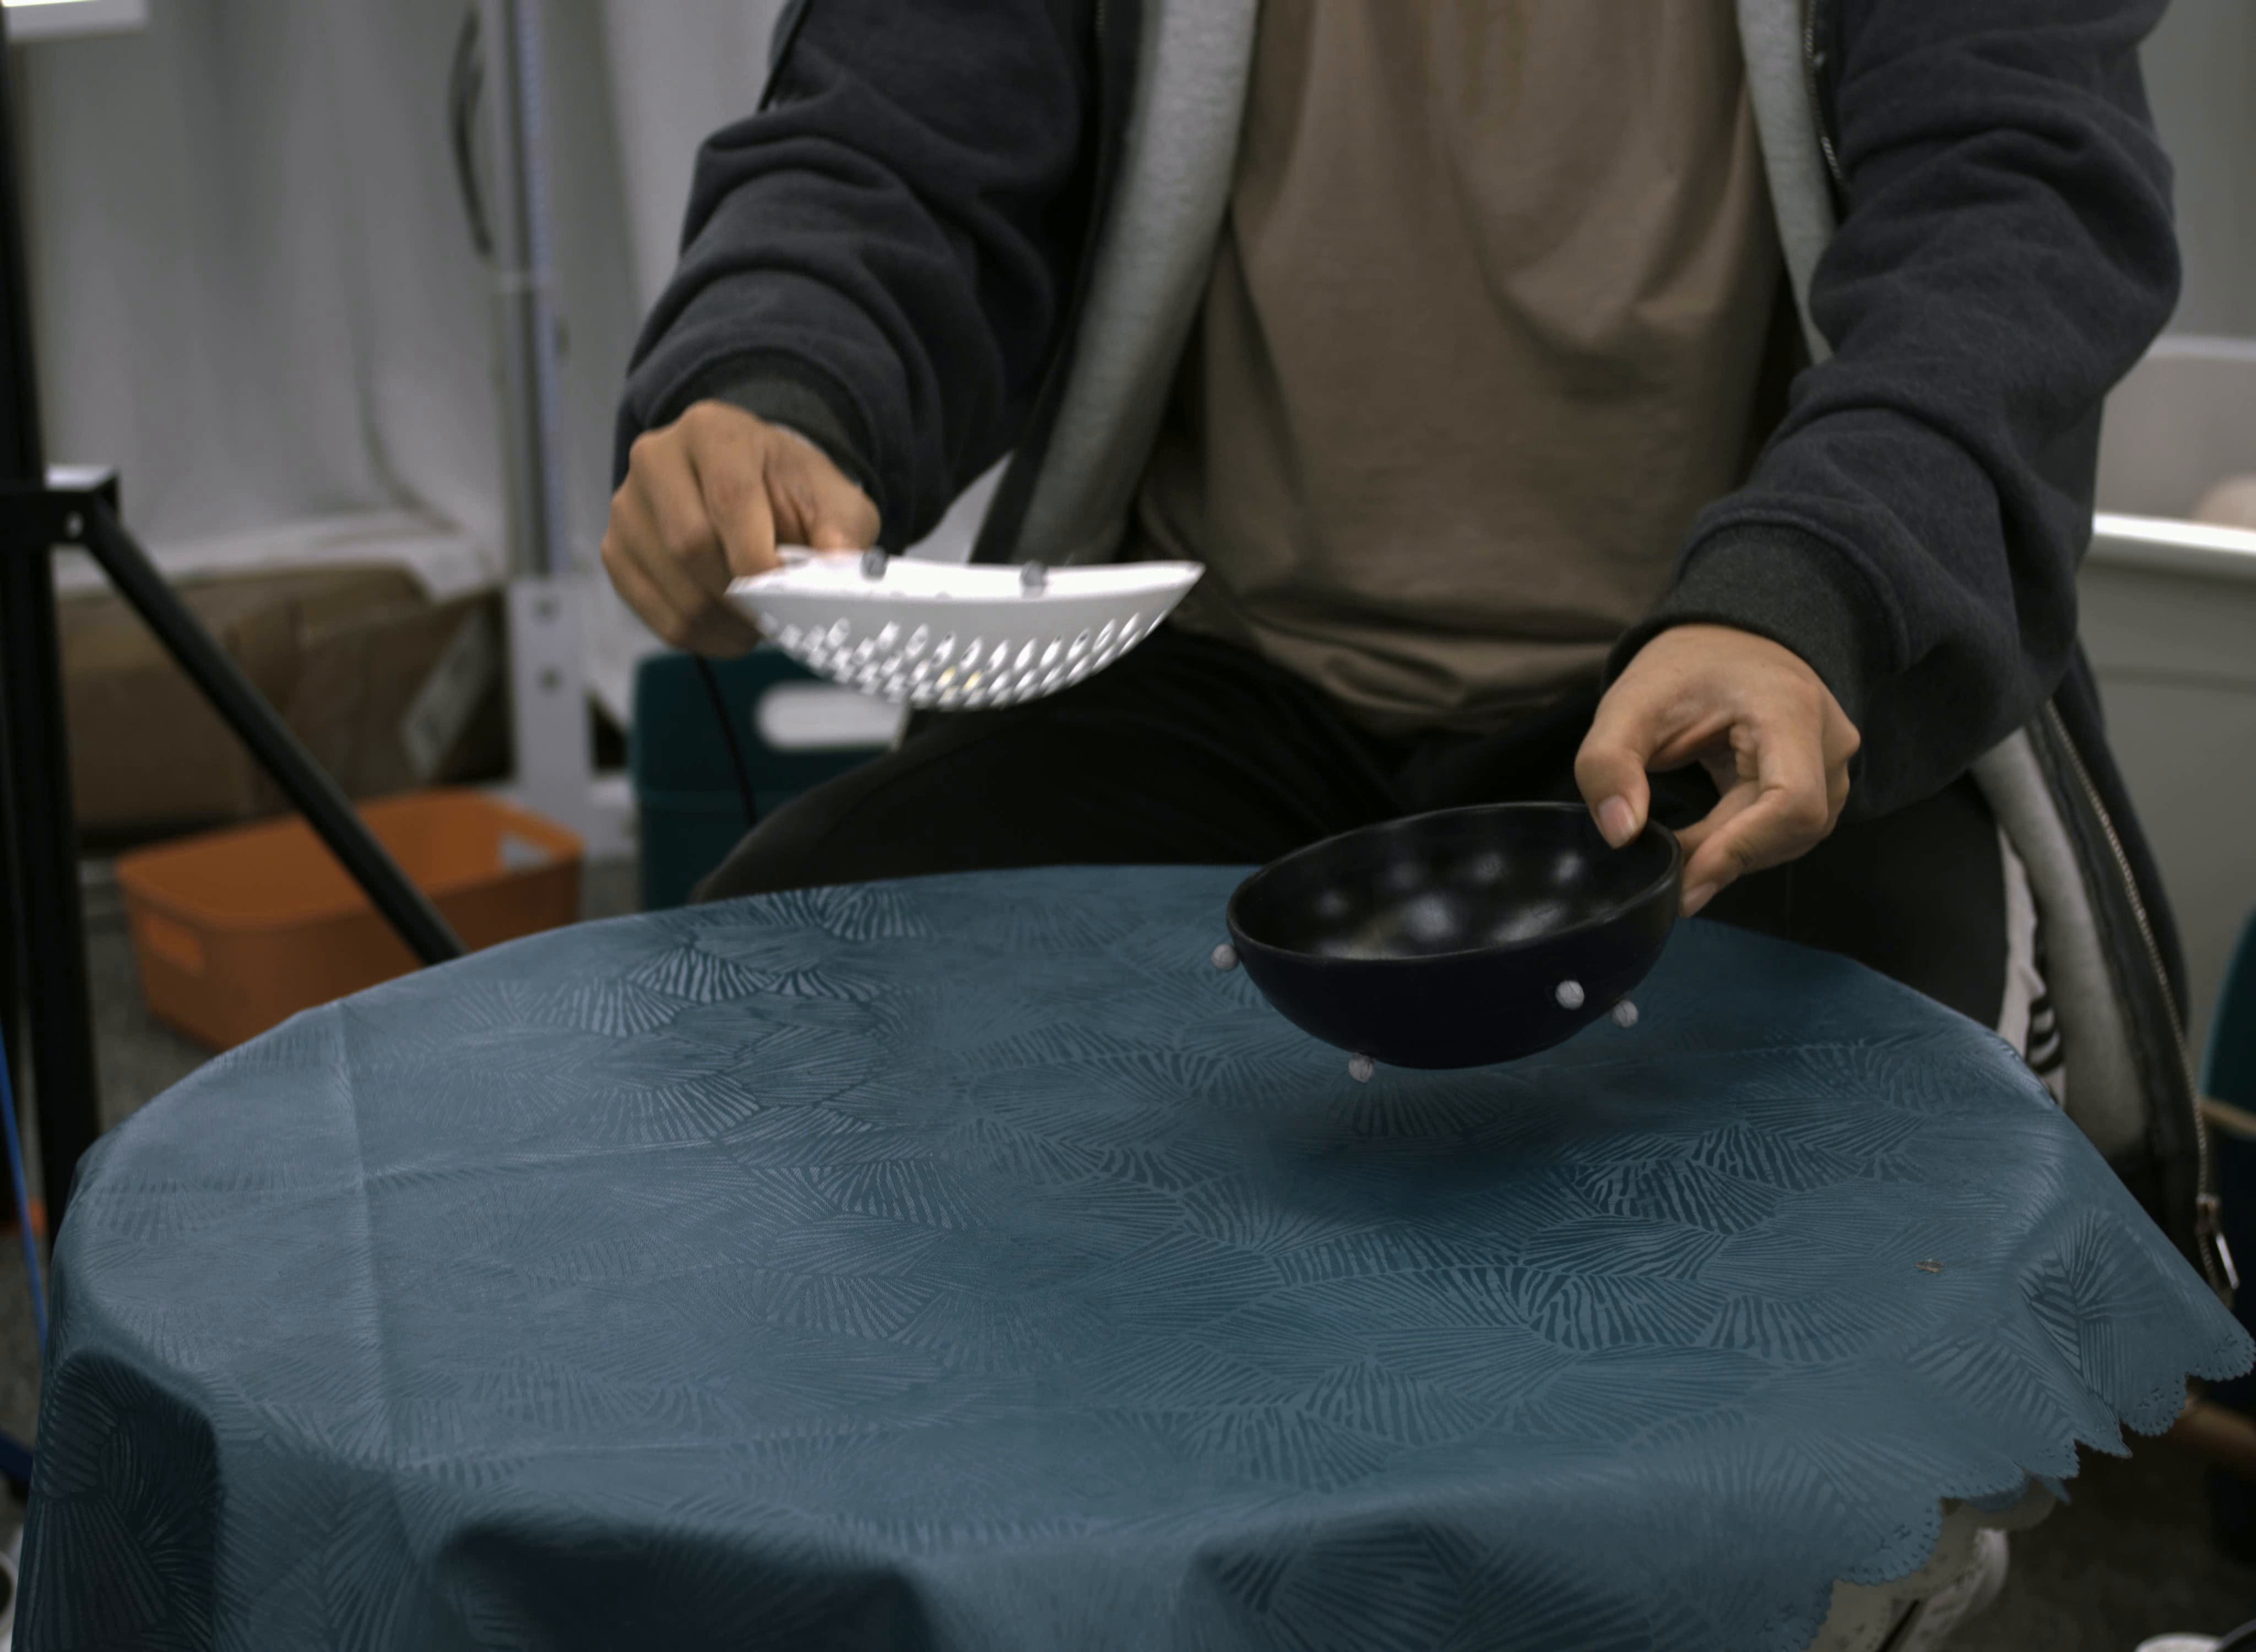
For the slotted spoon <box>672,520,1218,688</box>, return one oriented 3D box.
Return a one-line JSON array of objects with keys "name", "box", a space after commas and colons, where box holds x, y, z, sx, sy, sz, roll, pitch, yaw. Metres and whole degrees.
[{"name": "slotted spoon", "box": [-0.080, -0.073, 1.635, 0.134, 0.050, 0.353, -6, 9, -19]}]
